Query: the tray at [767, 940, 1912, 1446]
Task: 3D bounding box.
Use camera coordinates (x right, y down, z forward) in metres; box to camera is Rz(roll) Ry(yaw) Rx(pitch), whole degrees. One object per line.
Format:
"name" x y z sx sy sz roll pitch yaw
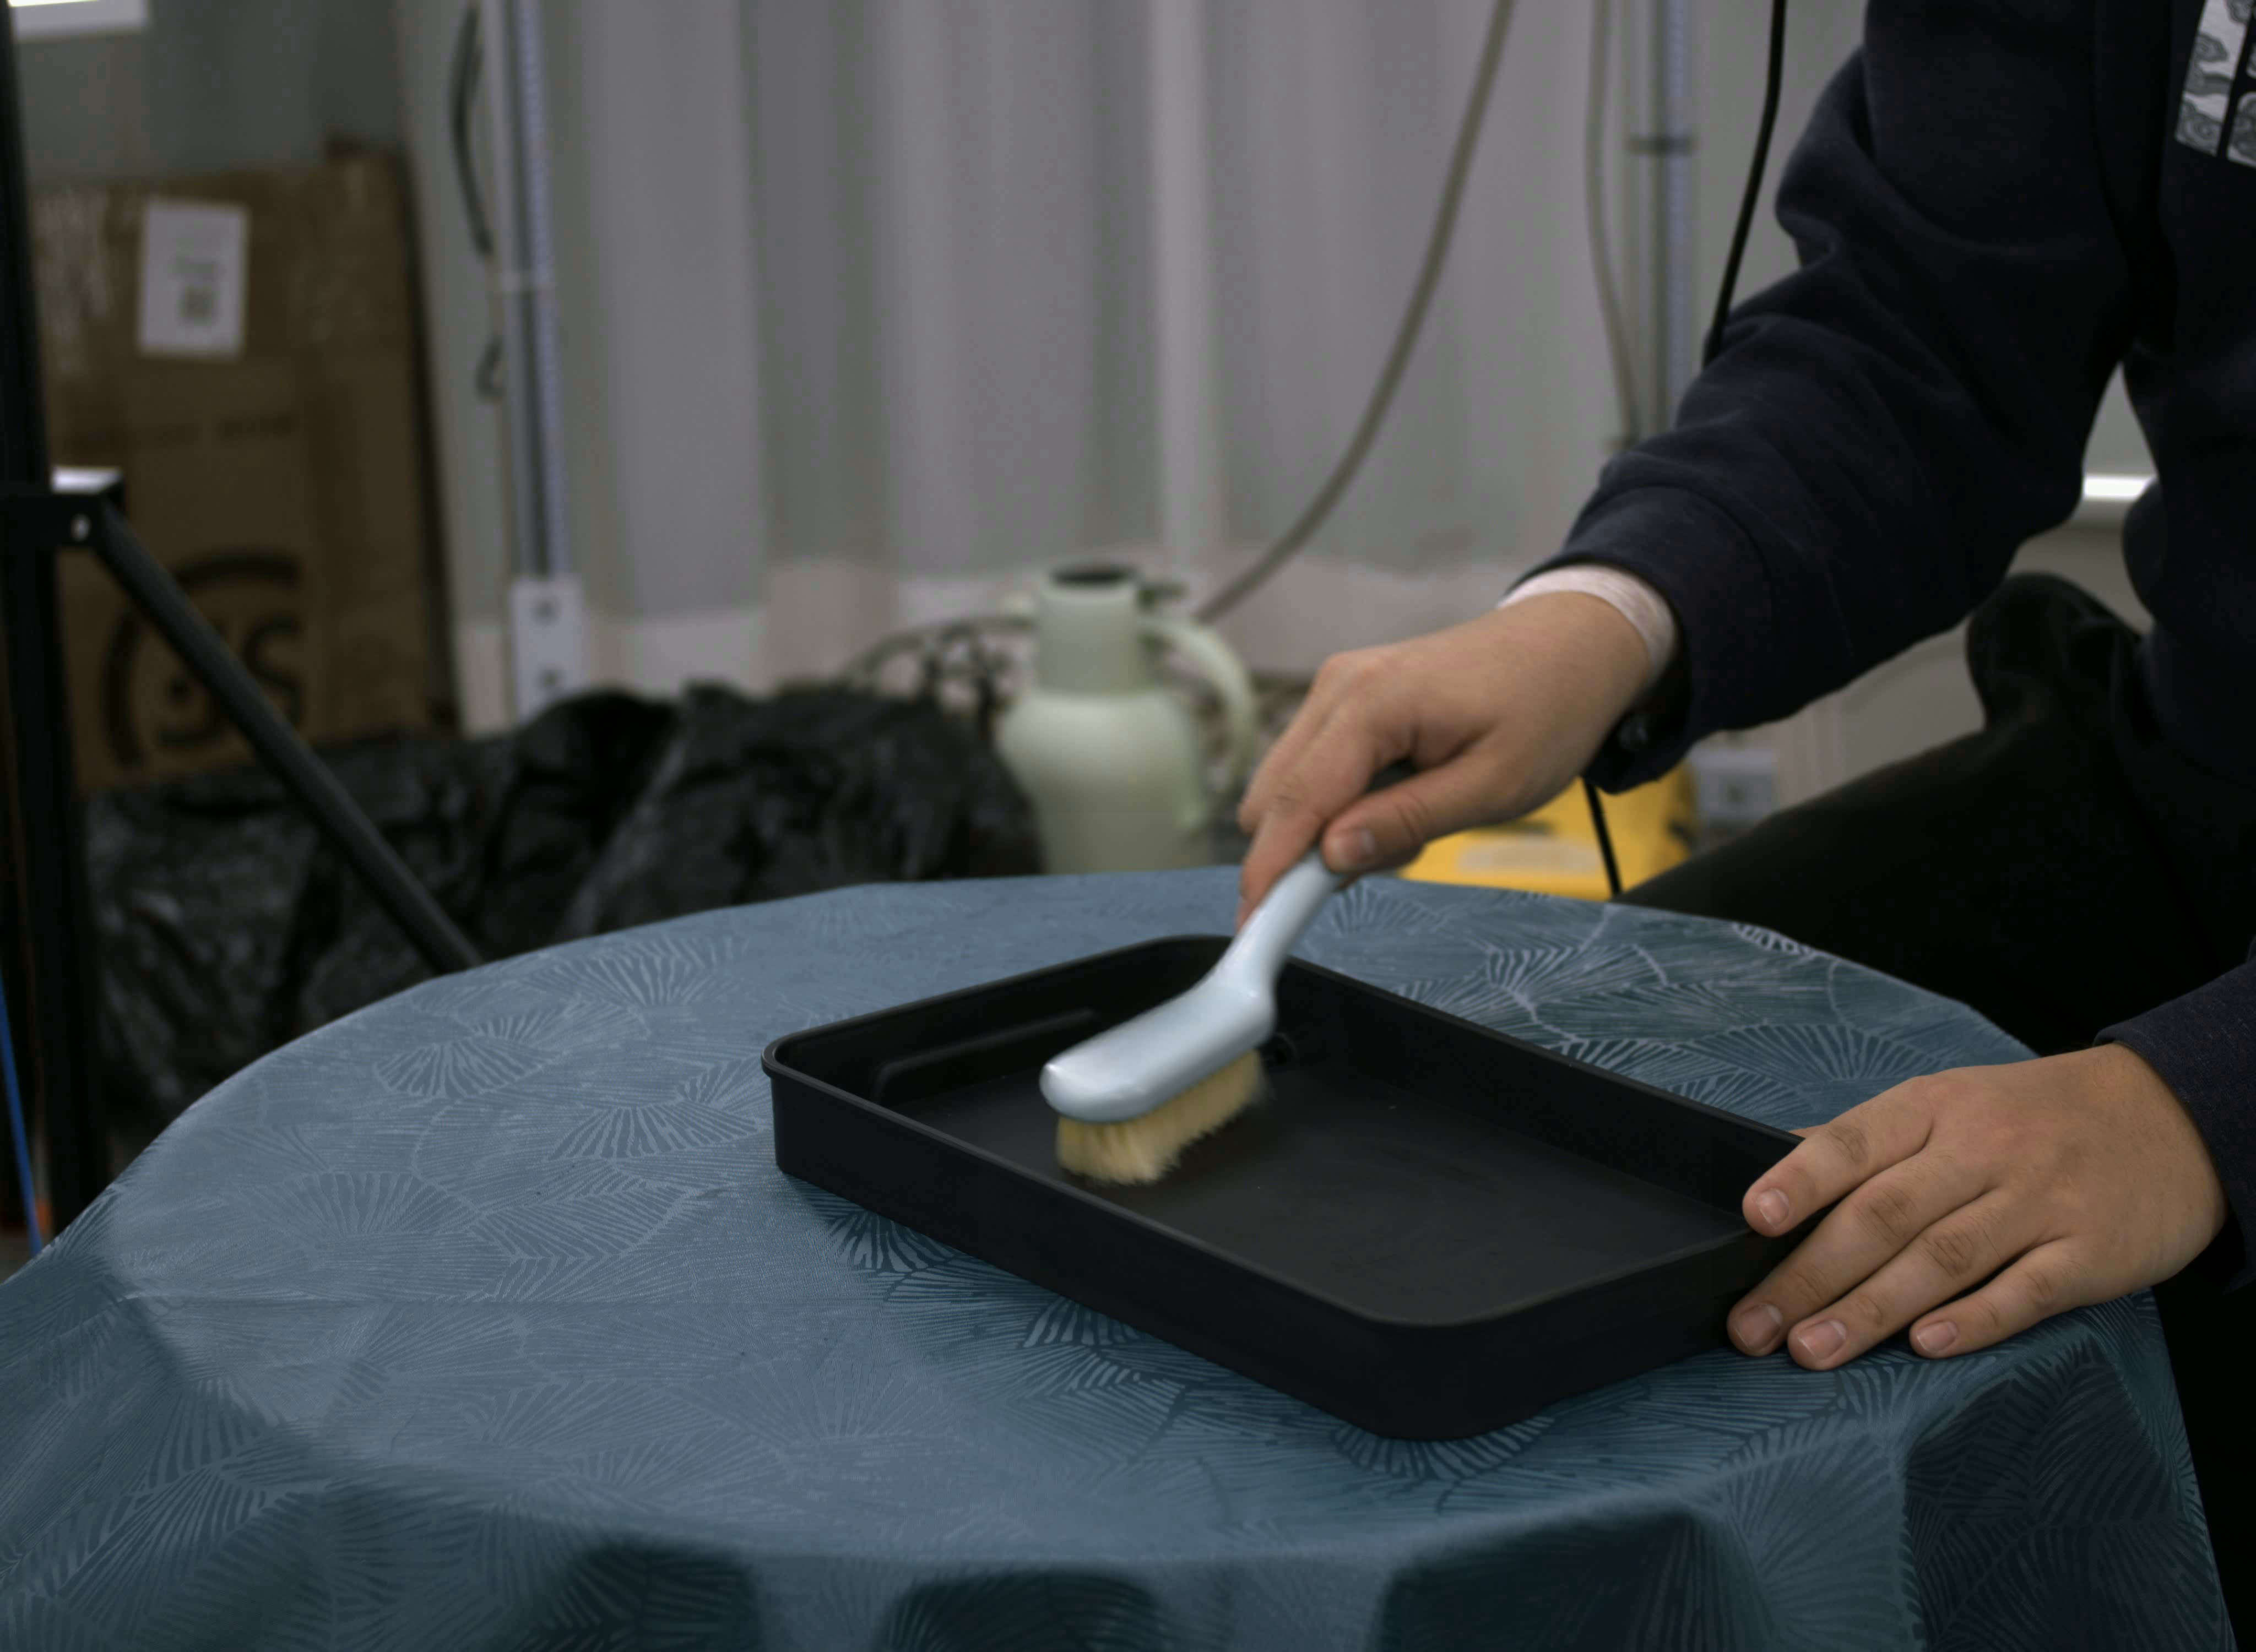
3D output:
"tray" 0.054 0.099 1.517 0.180 0.037 0.325 -14 19 -36

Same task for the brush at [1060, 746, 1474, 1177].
"brush" 0.048 0.039 1.626 0.038 0.049 0.226 3 32 33
